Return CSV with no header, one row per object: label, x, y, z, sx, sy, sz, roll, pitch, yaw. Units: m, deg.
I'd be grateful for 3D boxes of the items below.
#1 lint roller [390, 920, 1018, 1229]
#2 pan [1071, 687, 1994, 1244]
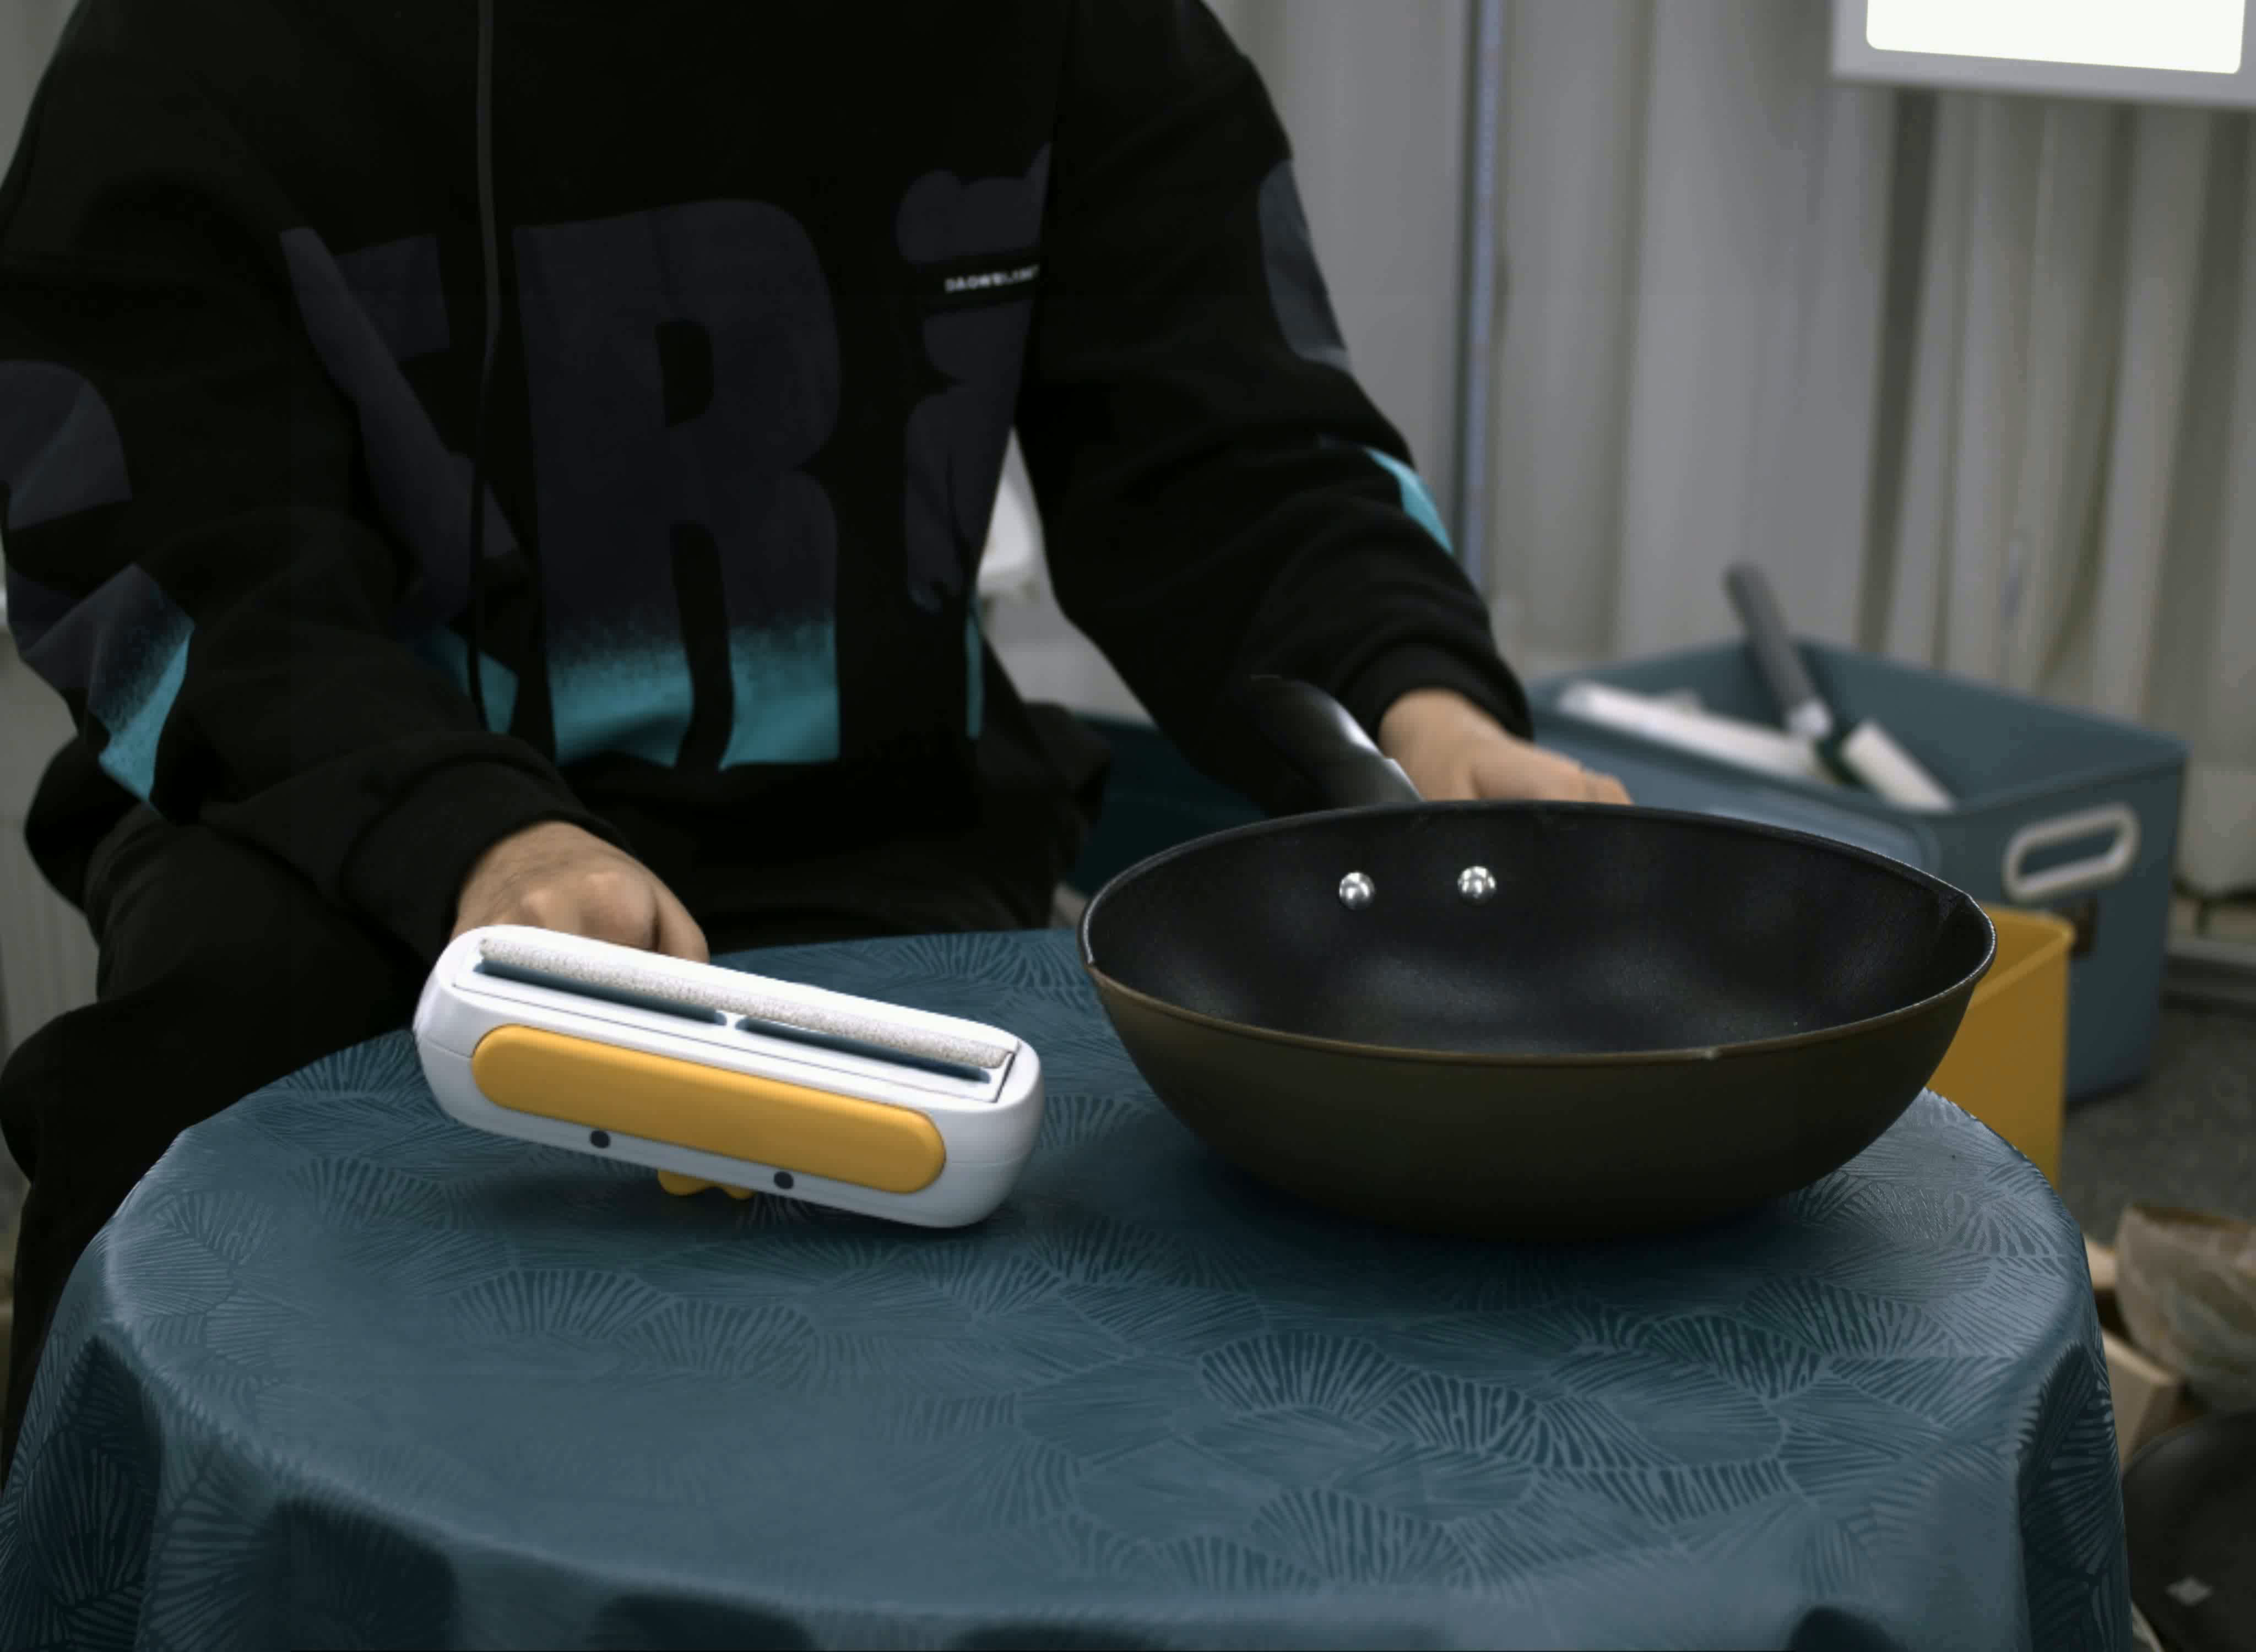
lint roller,-0.118,0.068,1.651,0.191,0.075,0.192,9,15,9
pan,0.102,0.043,1.716,0.288,0.087,0.459,-4,16,-14
